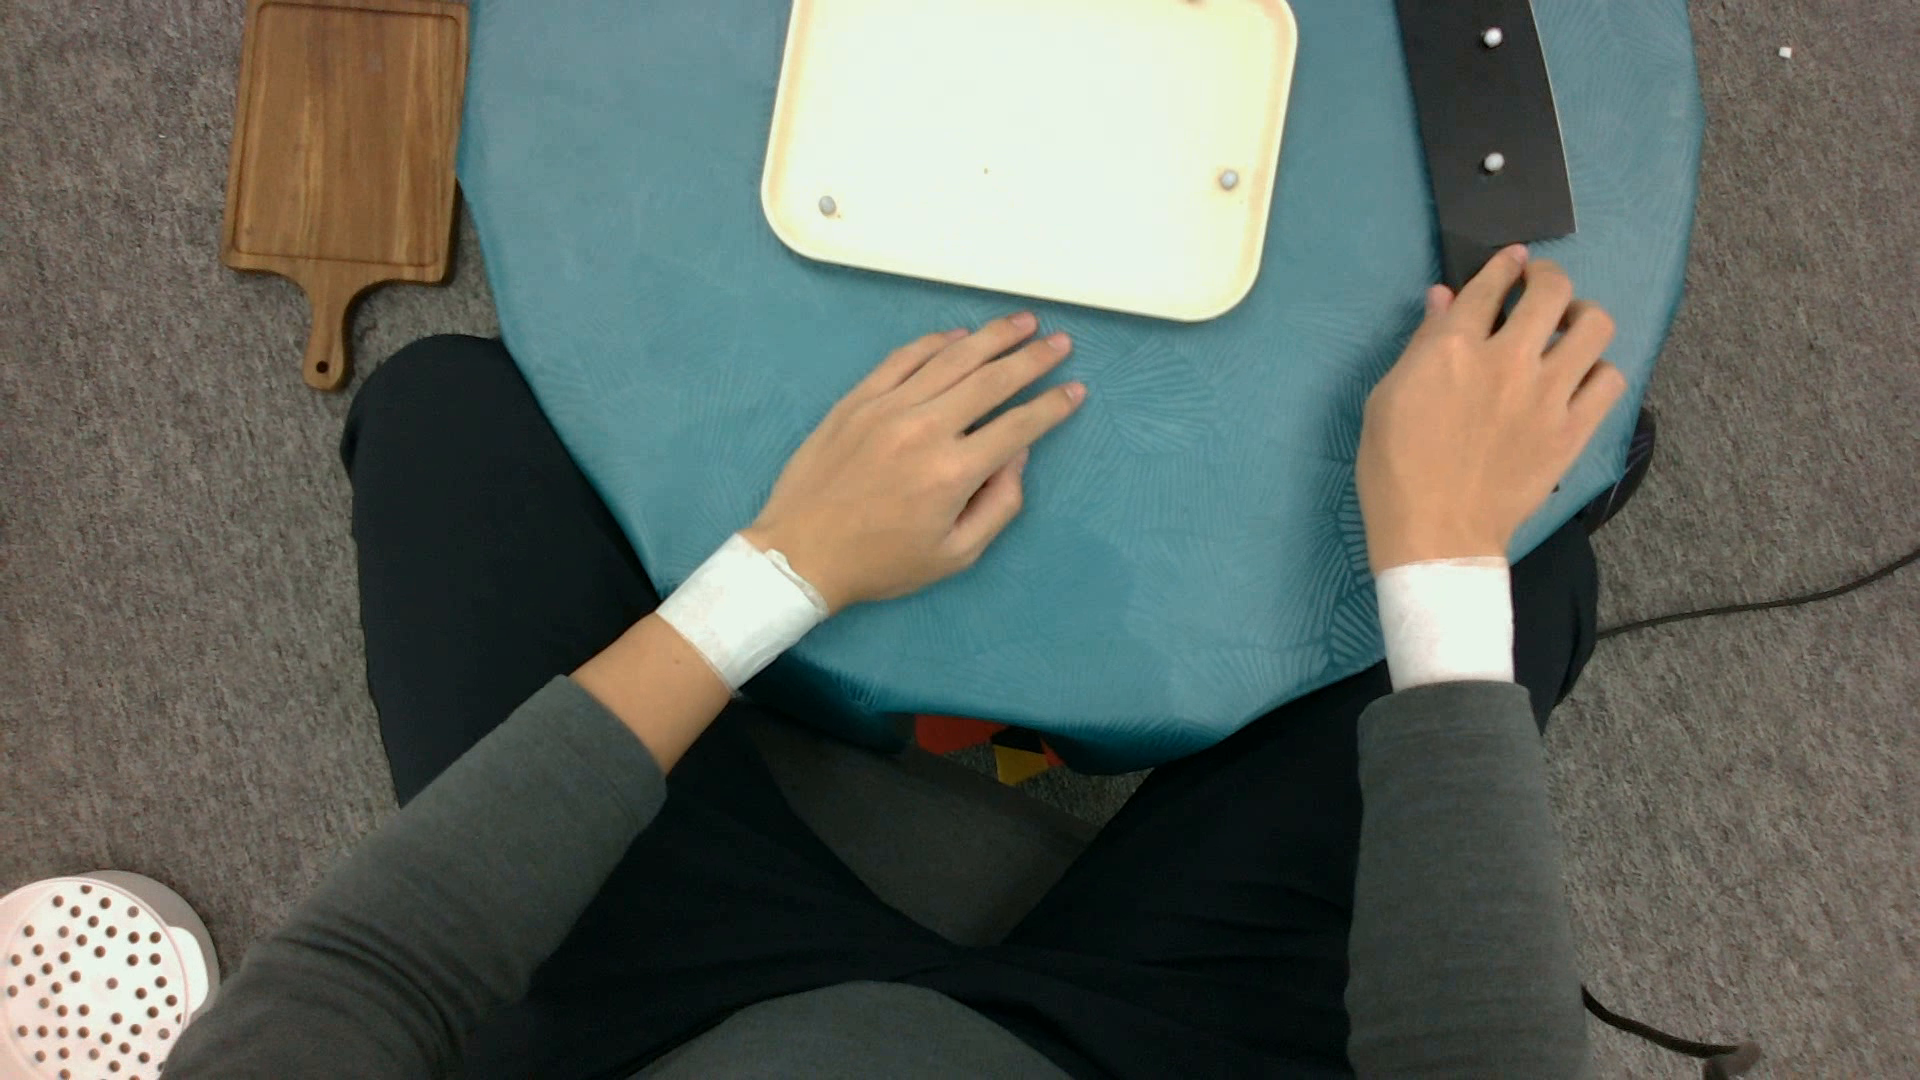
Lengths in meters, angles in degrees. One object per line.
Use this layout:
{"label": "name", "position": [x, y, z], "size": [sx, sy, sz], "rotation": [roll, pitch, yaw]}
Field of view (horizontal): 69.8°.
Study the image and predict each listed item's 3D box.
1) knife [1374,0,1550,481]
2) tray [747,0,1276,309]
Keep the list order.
{"label": "knife", "position": [0.246, -0.177, 0.667], "size": [0.081, 0.021, 0.302], "rotation": [-5, 85, -2]}
{"label": "tray", "position": [0.025, -0.207, 0.662], "size": [0.240, 0.017, 0.171], "rotation": [9, 87, -1]}
